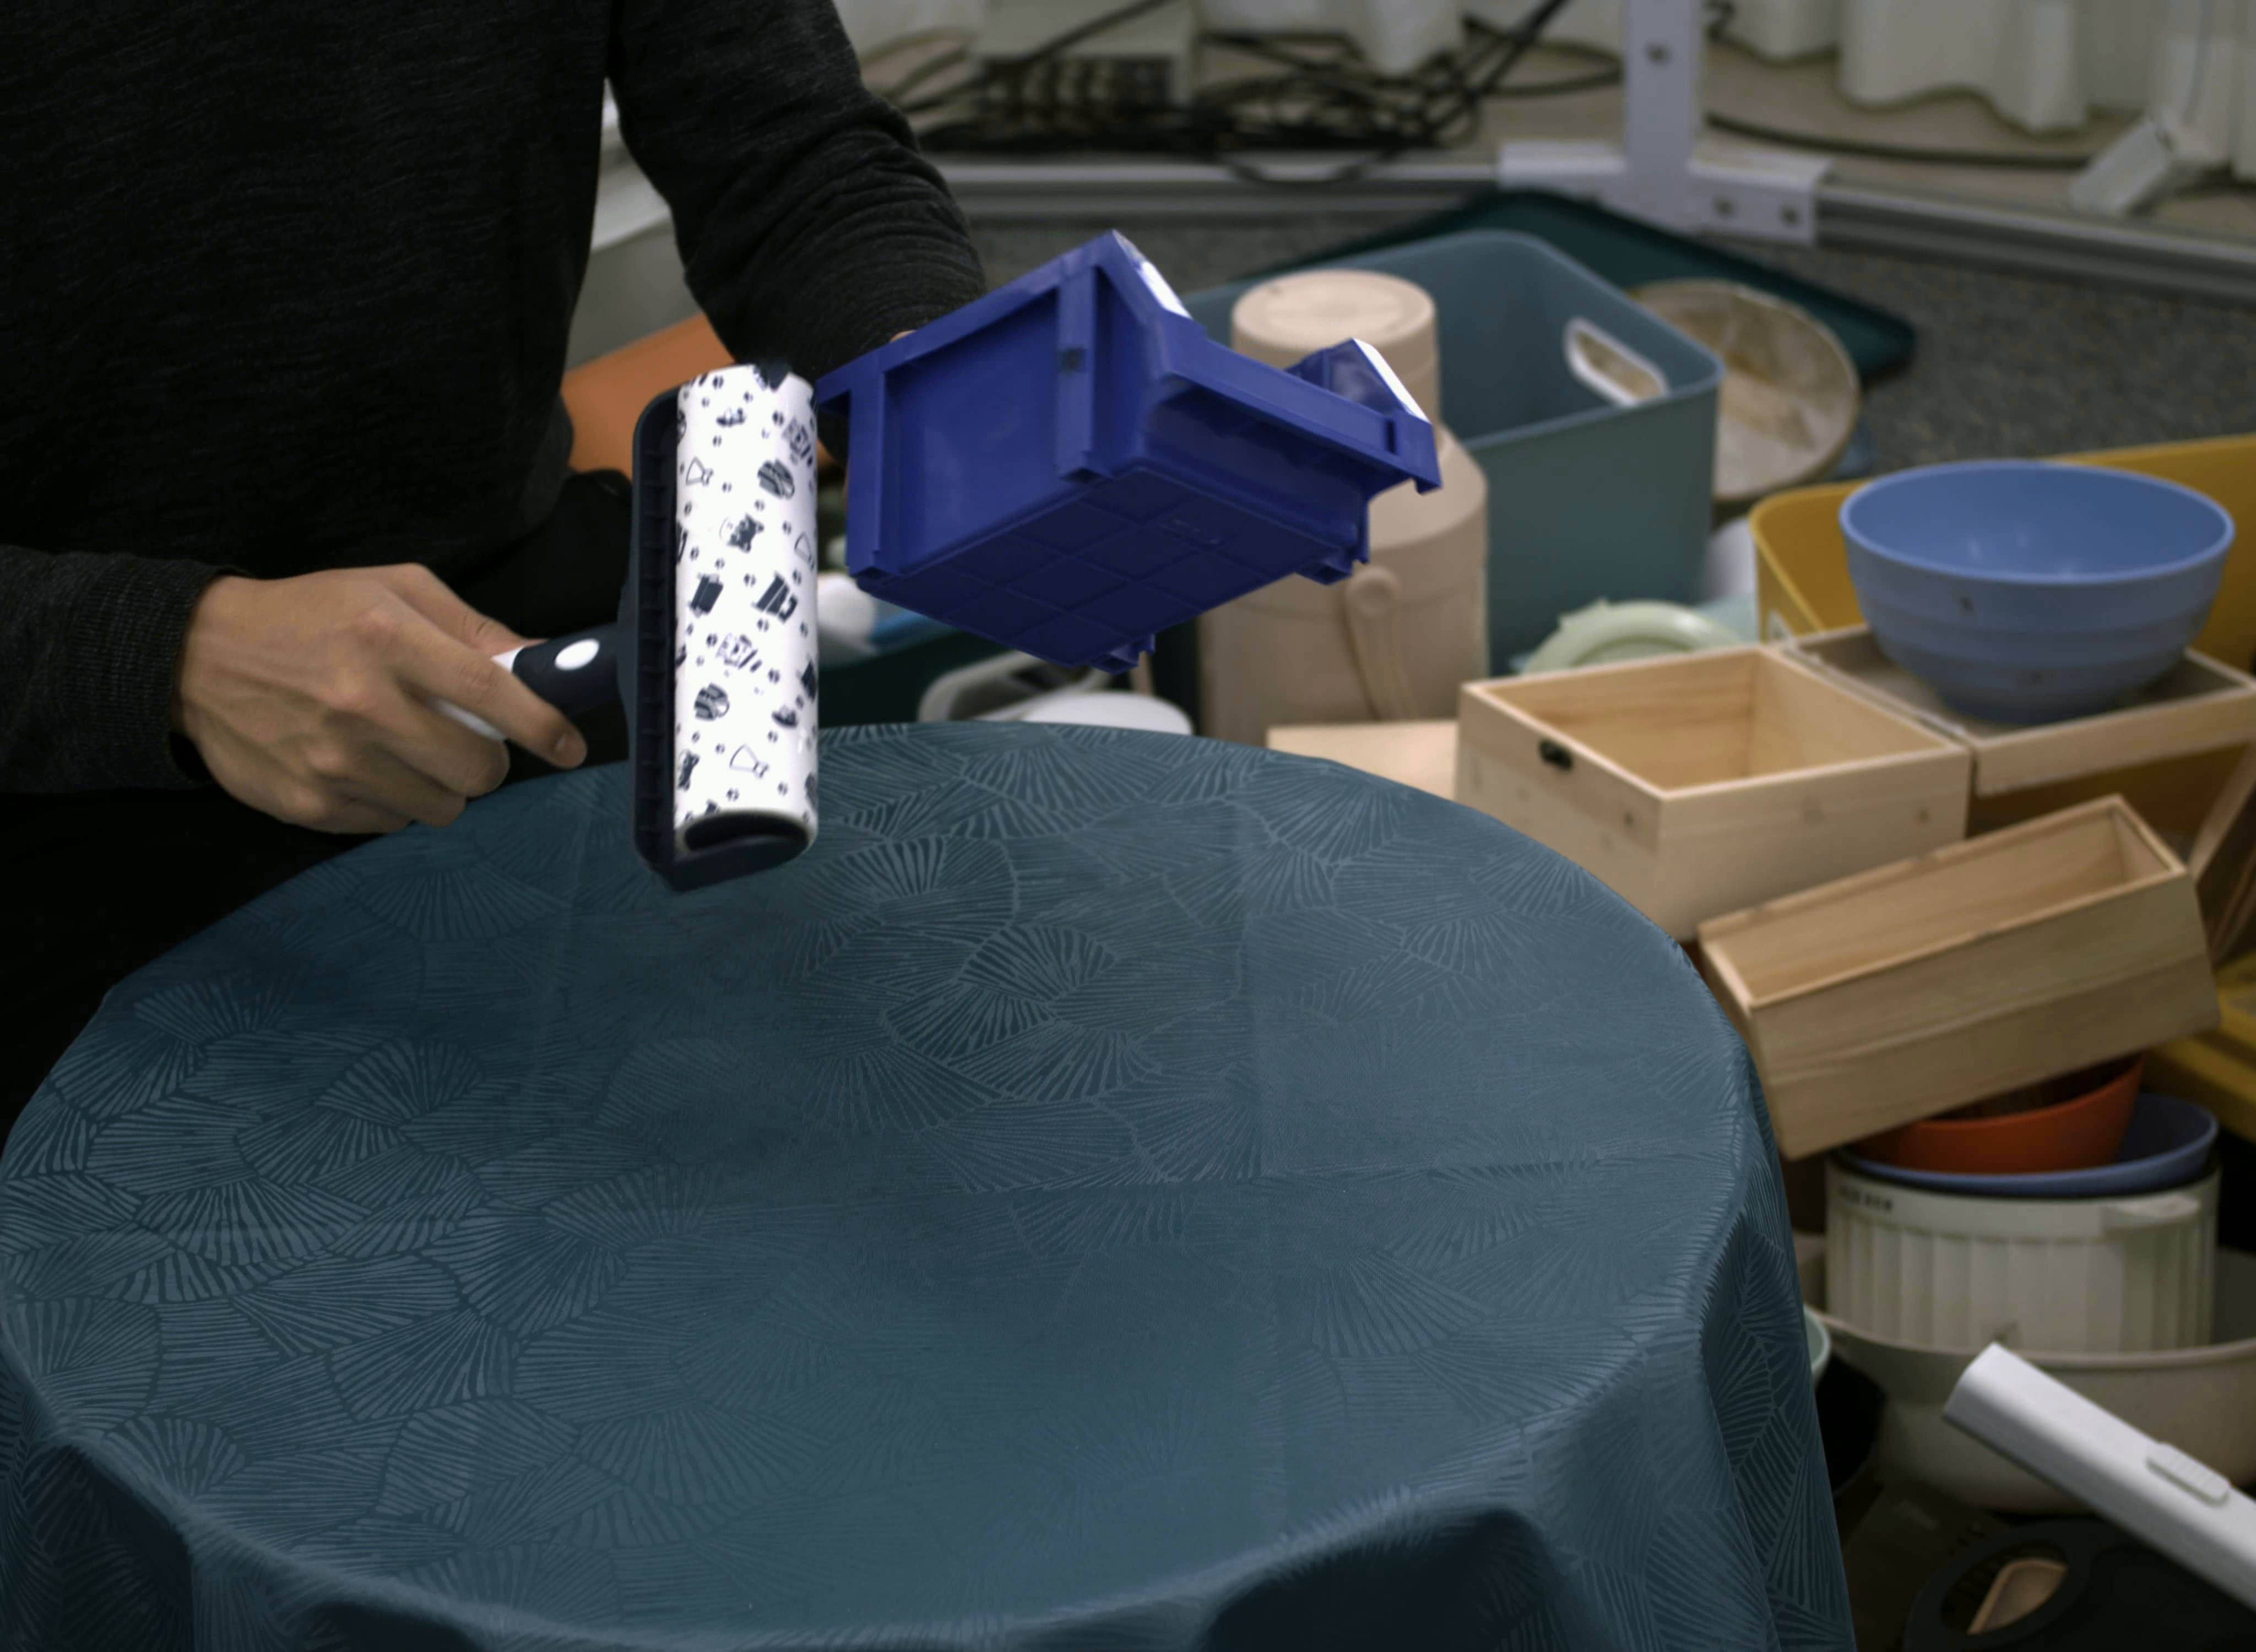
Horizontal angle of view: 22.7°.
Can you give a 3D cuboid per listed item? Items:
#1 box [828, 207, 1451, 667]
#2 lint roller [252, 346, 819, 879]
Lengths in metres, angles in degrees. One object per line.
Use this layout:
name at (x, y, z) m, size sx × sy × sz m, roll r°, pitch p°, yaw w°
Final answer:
box at (0.003, -0.127, 1.856) m, size 0.124 × 0.083 × 0.176 m, roll 20°, pitch -33°, yaw -36°
lint roller at (-0.207, -0.047, 1.900) m, size 0.244 × 0.179 × 0.050 m, roll -17°, pitch -28°, yaw 29°
